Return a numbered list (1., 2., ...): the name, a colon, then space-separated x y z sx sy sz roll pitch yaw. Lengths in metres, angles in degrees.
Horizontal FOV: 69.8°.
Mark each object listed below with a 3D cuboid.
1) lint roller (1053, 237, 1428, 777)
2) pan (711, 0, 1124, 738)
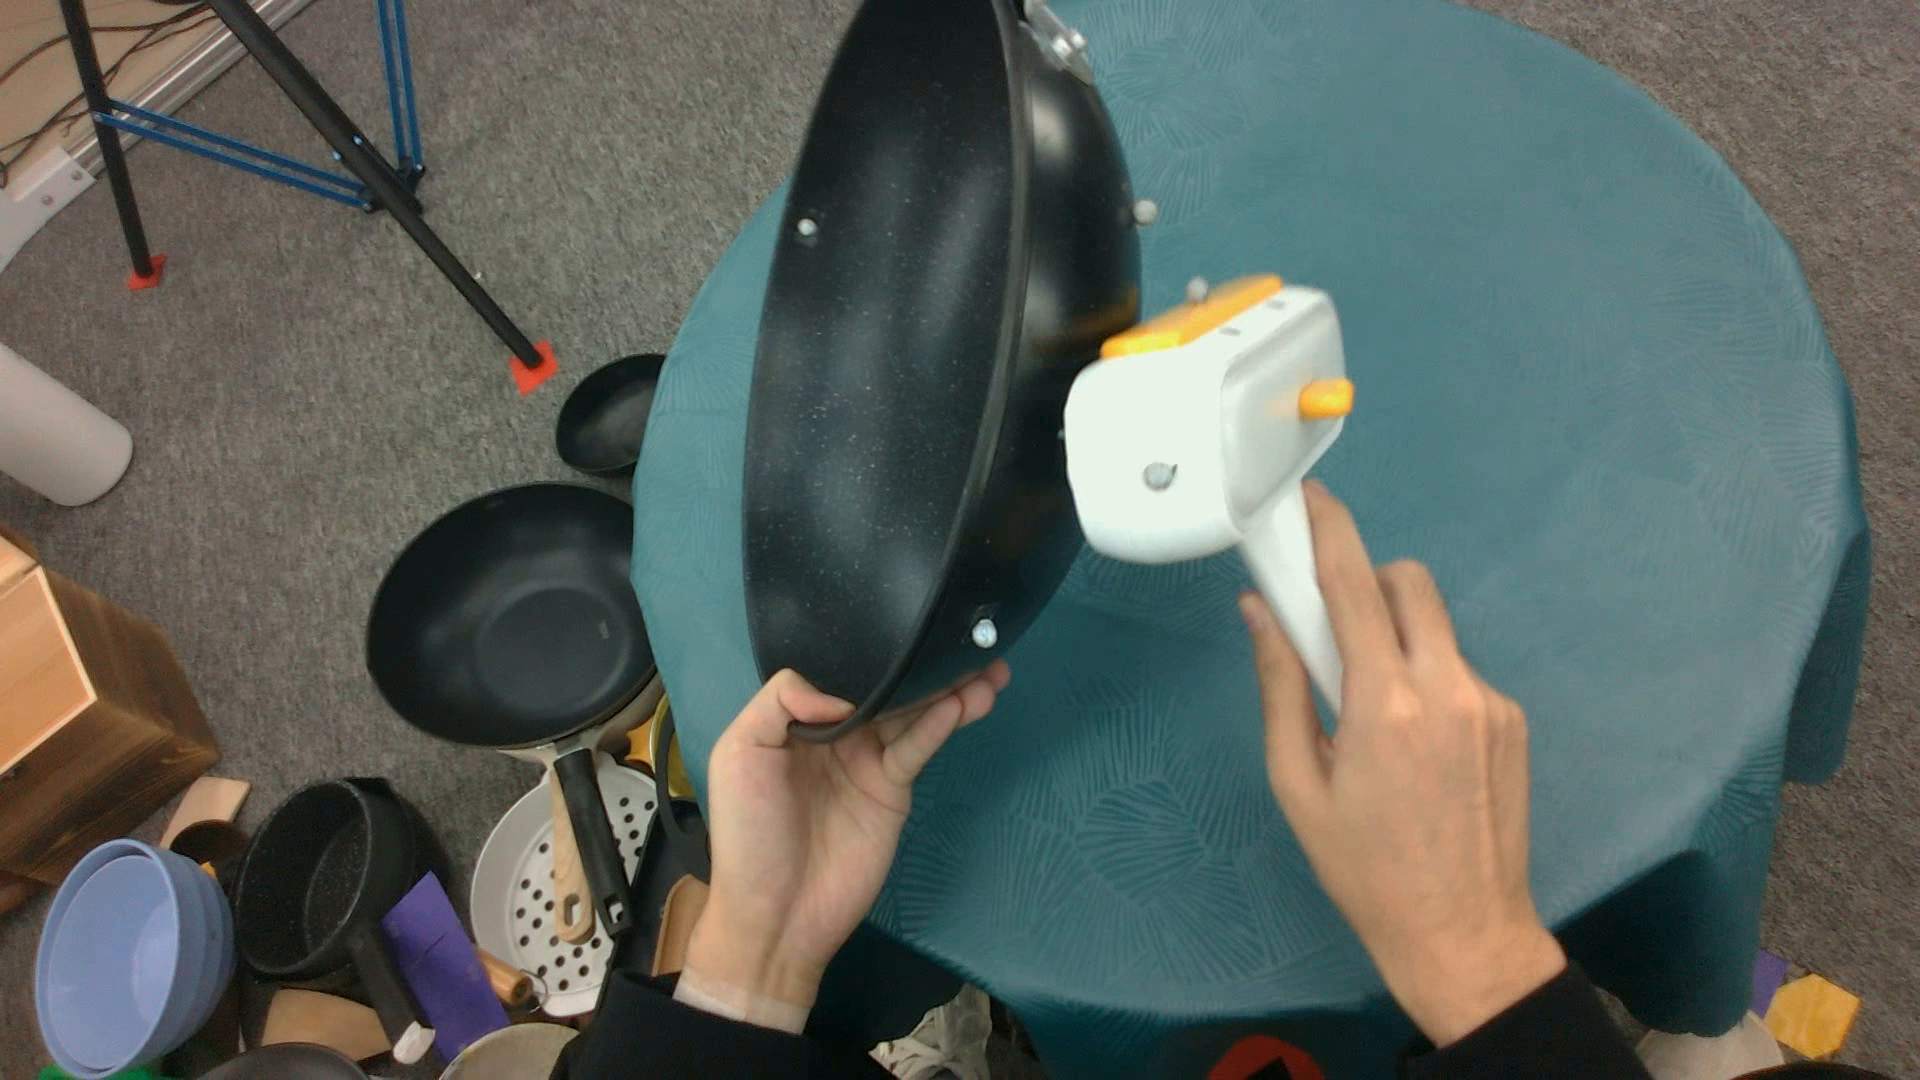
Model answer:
1. lint roller: 0.108 -0.002 0.477 0.074 0.192 0.194 -14 15 25
2. pan: 0.004 -0.132 0.509 0.112 0.474 0.311 7 42 -25
